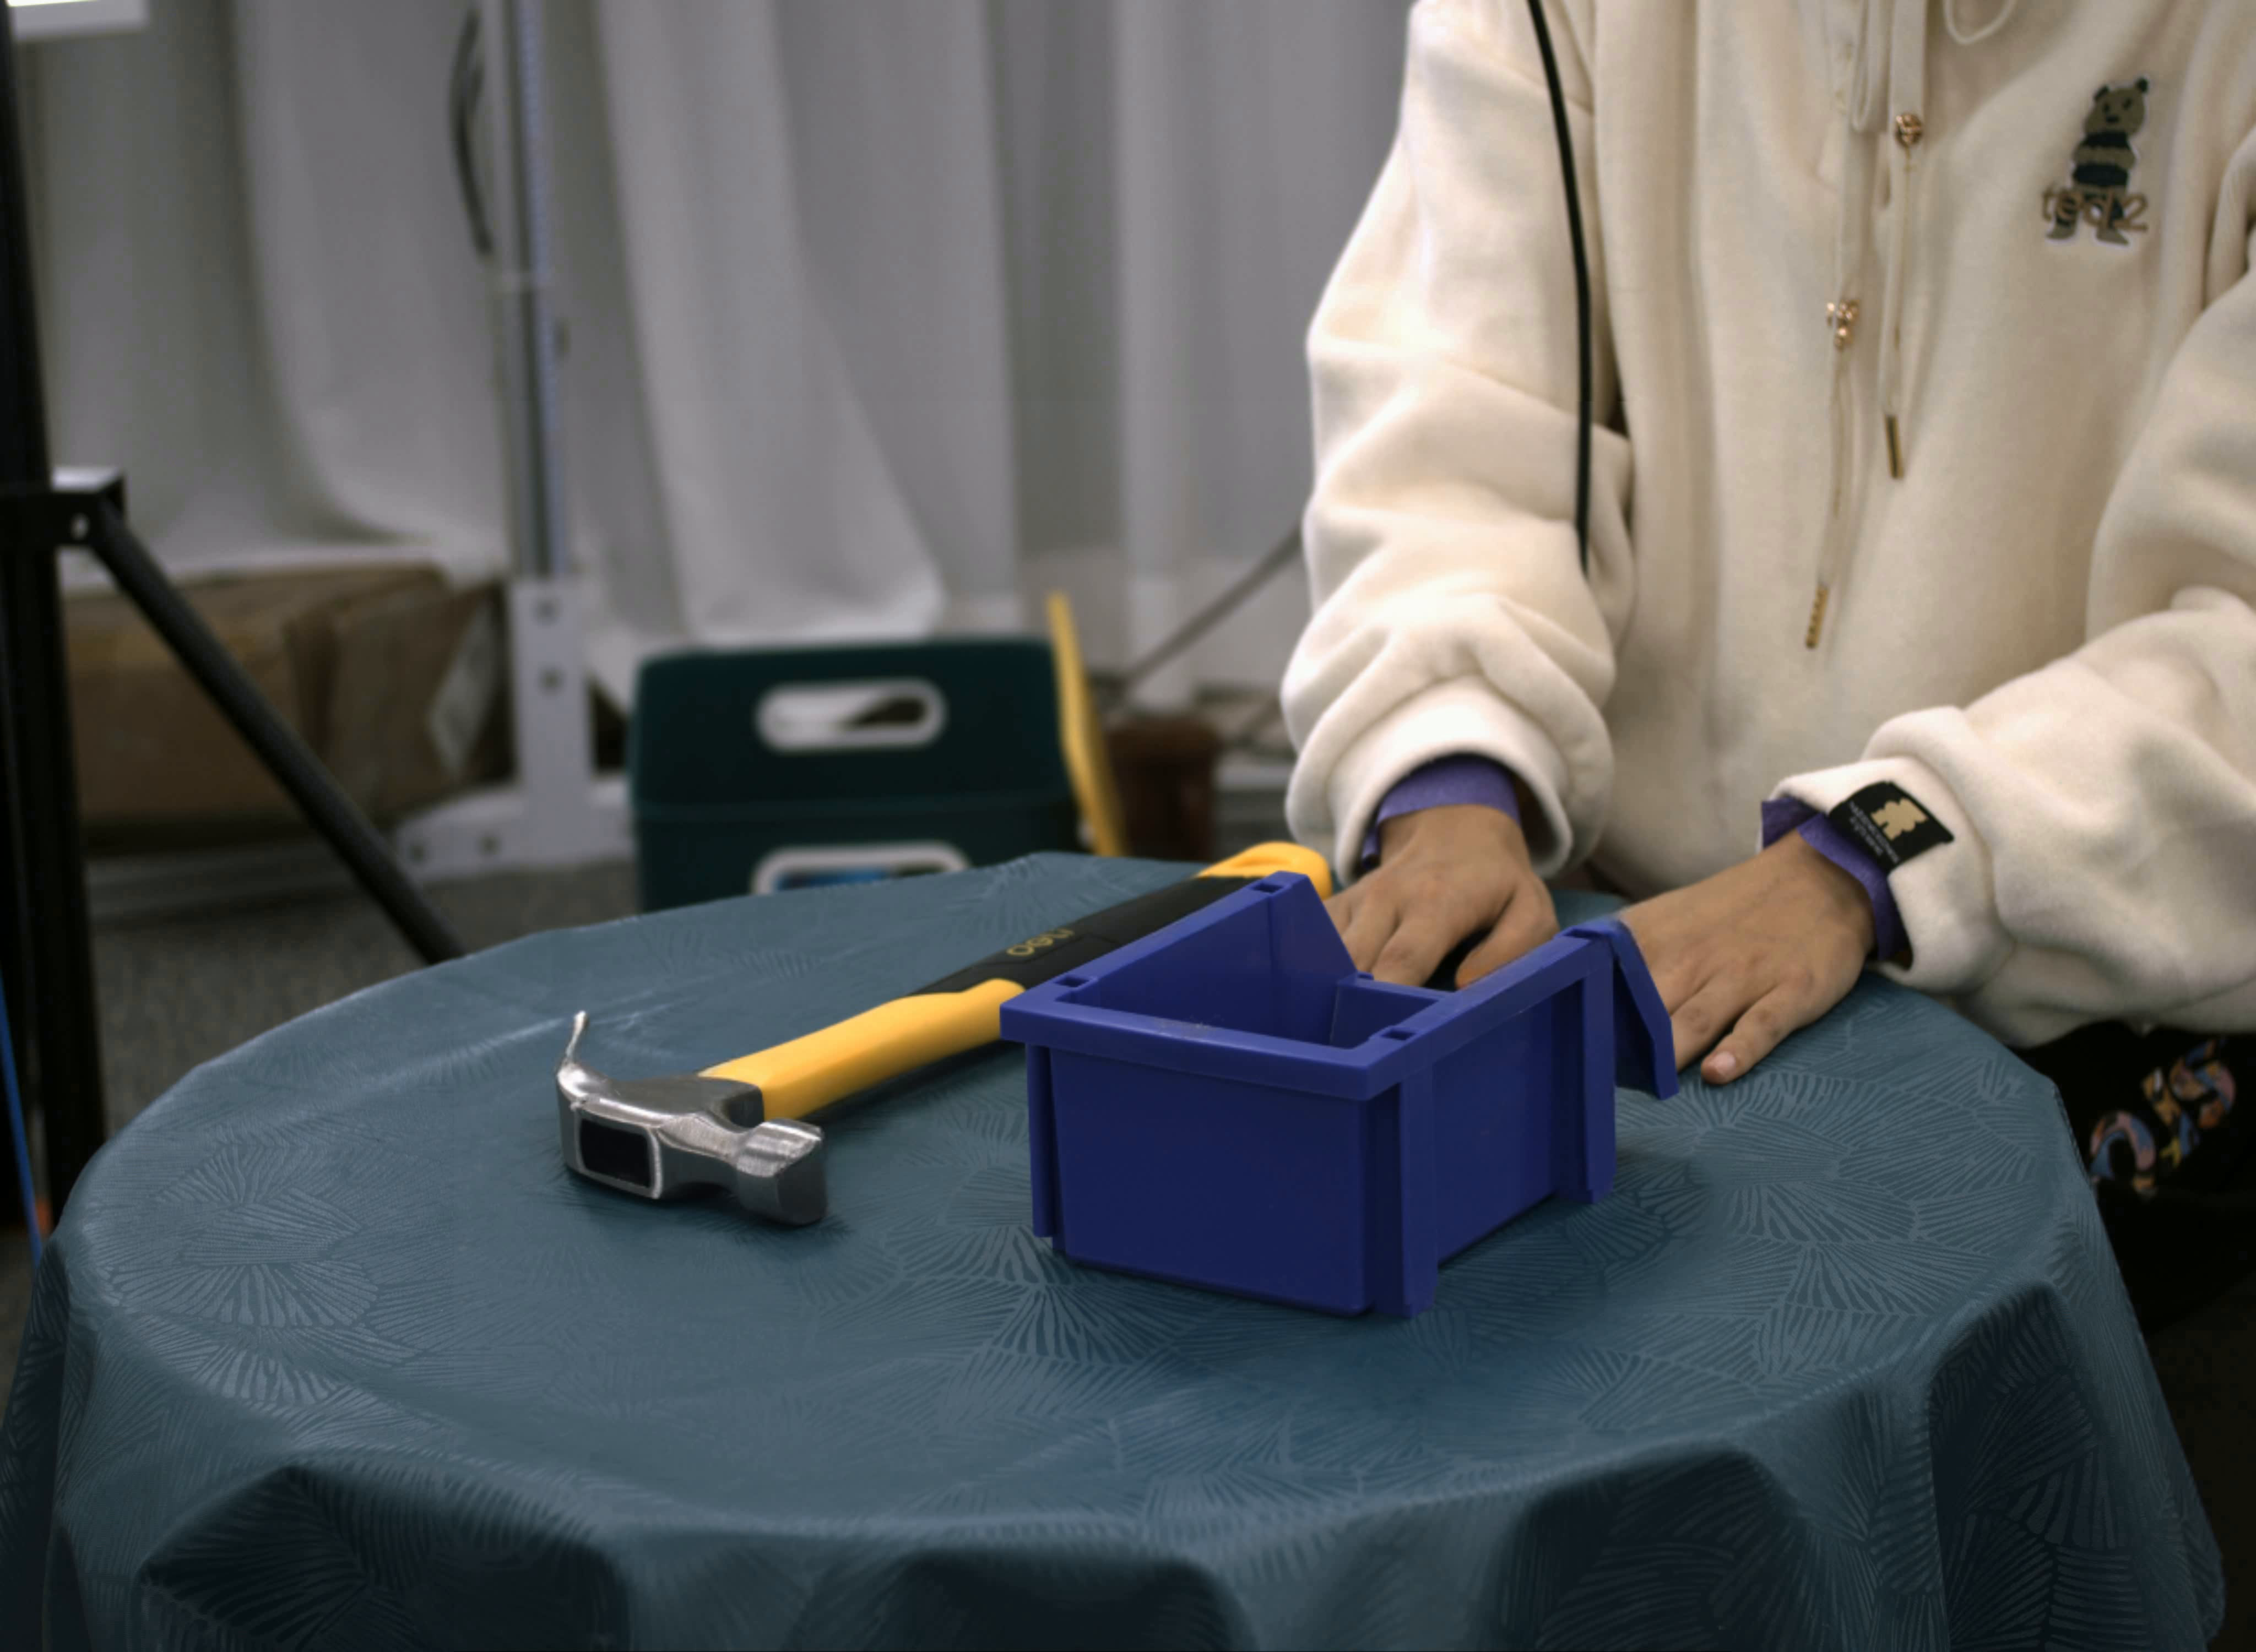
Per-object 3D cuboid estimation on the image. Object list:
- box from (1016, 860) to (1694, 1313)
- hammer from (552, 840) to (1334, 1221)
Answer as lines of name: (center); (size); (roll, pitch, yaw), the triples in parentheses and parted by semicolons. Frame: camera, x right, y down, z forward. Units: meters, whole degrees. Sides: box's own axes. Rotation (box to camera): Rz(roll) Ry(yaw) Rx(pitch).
box: (0.067, 0.071, 1.531); (0.127, 0.082, 0.176); (8, 21, 34)
hammer: (-0.047, 0.055, 1.690); (0.134, 0.032, 0.331); (9, 20, 40)
